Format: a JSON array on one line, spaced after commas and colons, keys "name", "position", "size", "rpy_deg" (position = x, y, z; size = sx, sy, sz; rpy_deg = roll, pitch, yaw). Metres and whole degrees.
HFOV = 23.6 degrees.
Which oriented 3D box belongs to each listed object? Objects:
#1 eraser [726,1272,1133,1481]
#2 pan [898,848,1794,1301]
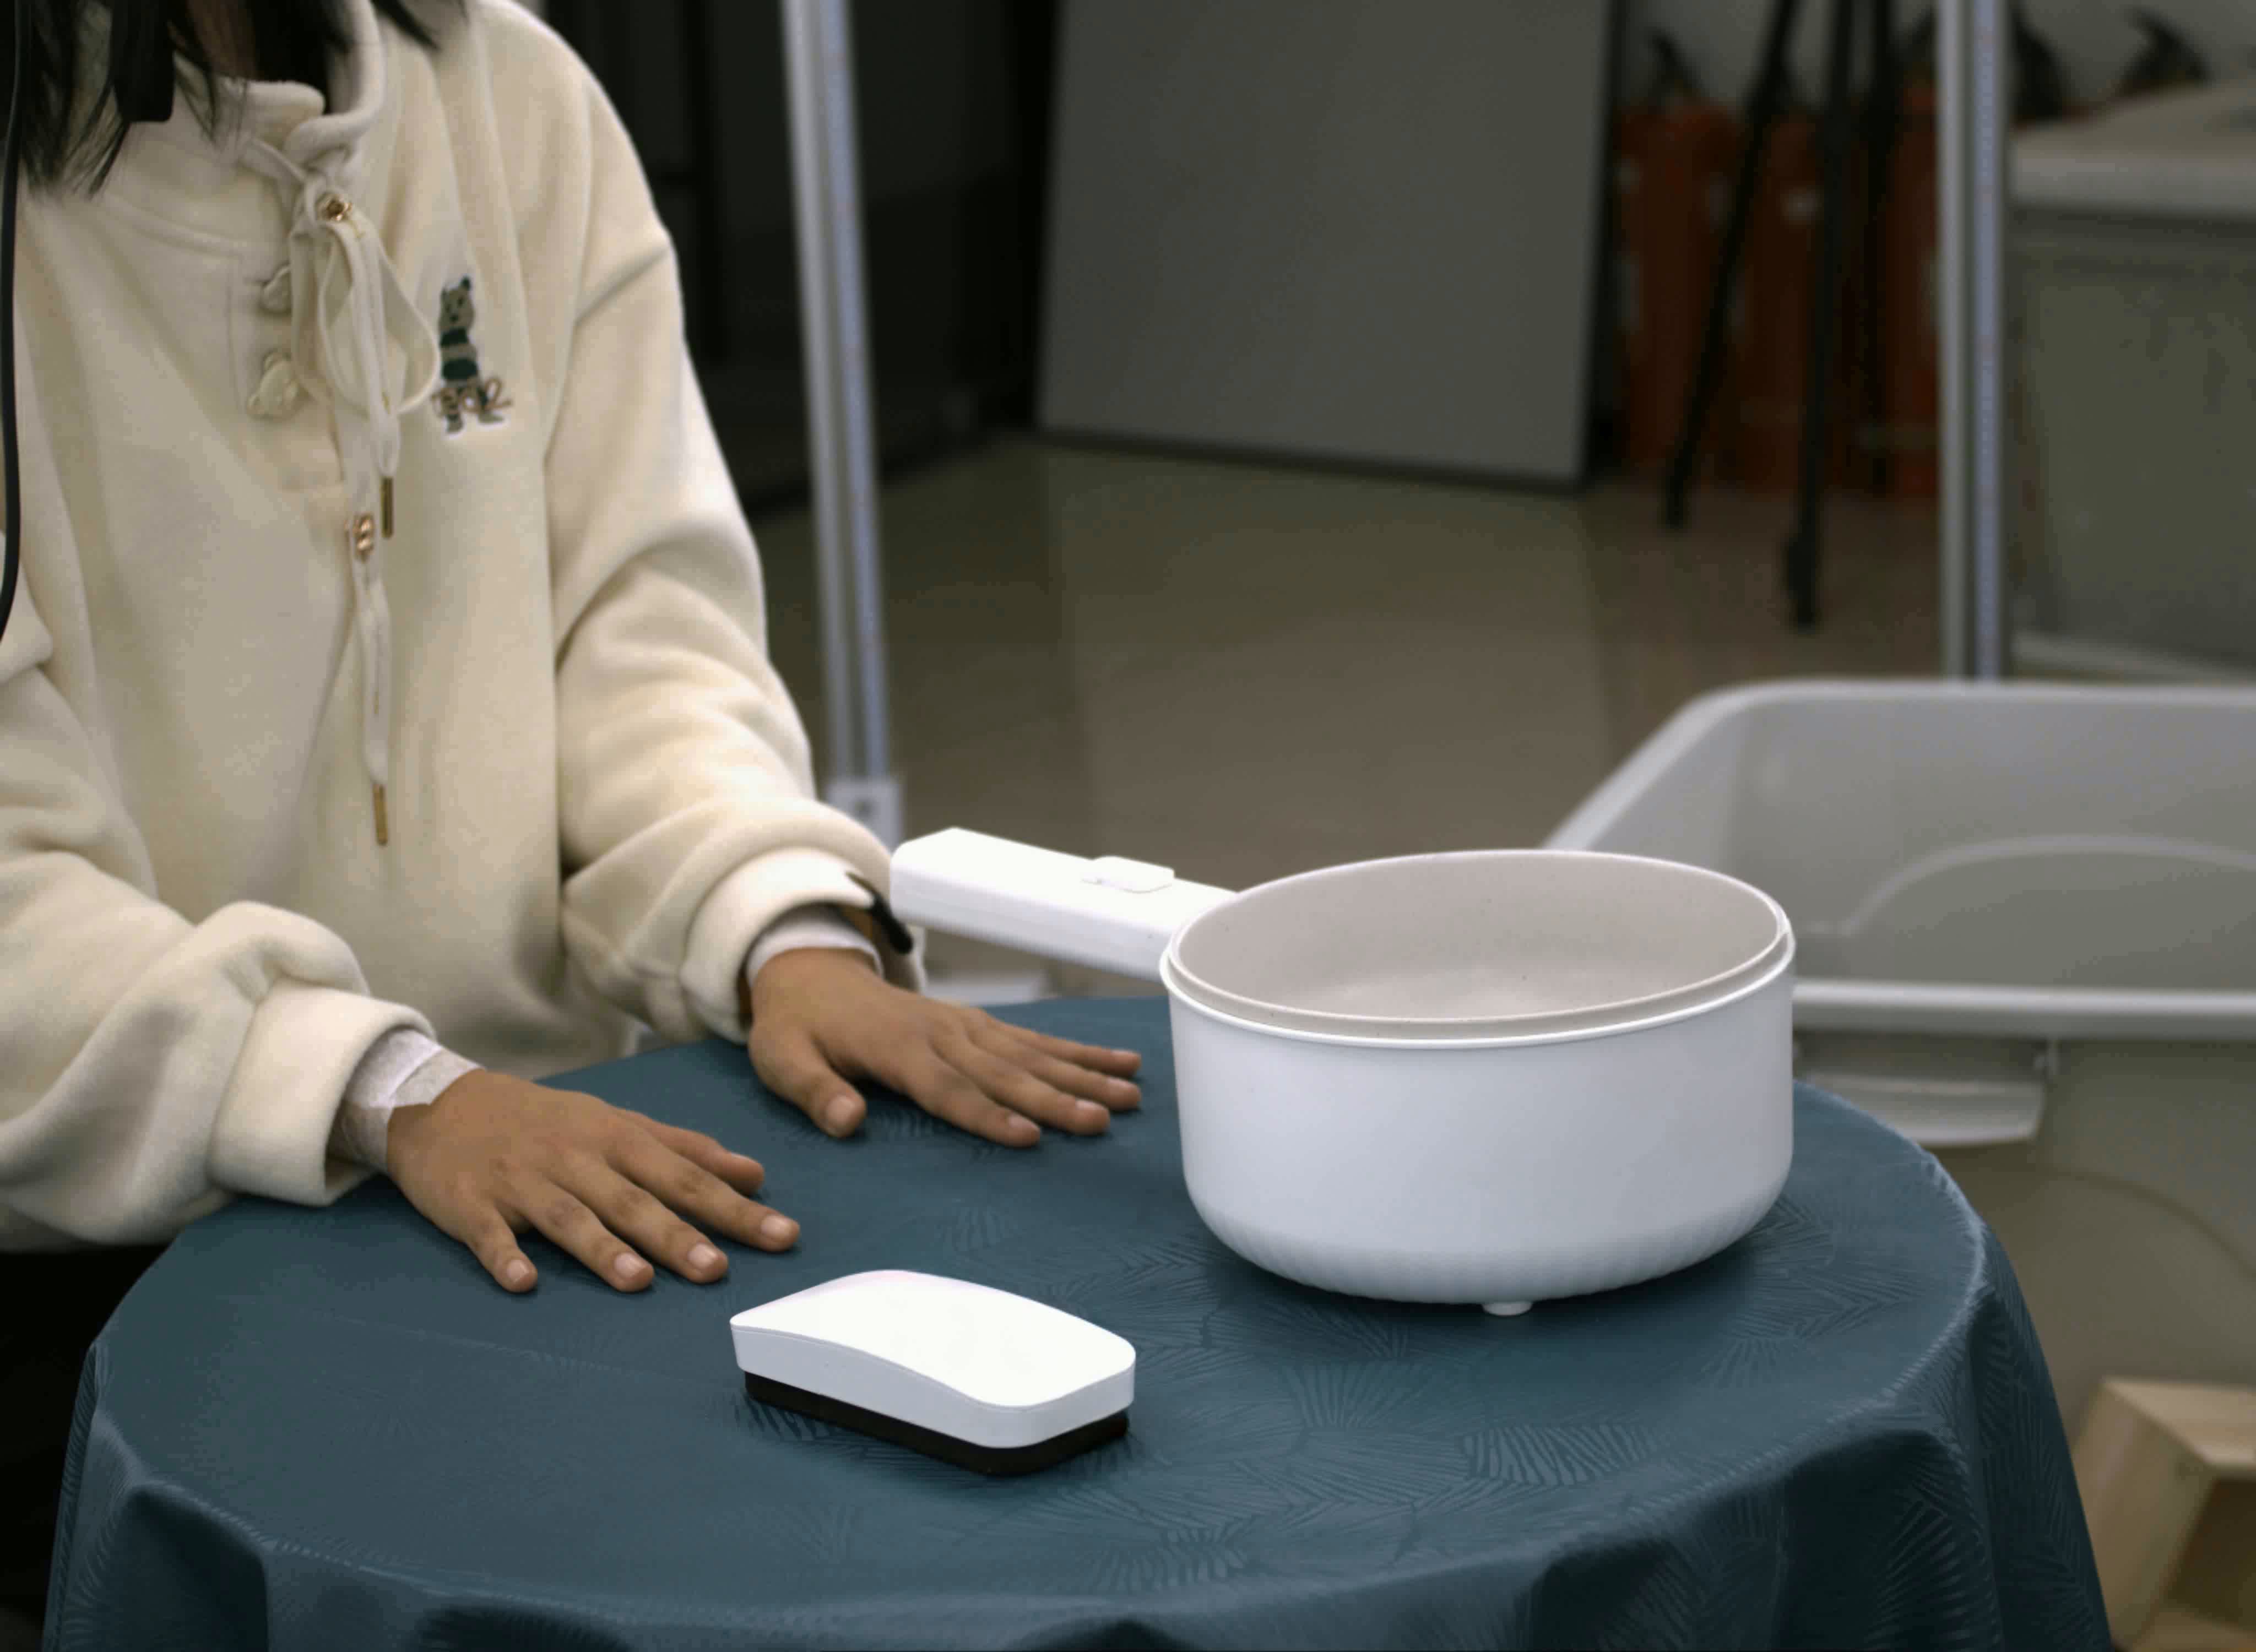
[{"name": "eraser", "position": [-0.057, 0.157, 1.576], "size": [0.062, 0.035, 0.132], "rpy_deg": [-13, 16, -41]}, {"name": "pan", "position": [0.058, 0.072, 1.744], "size": [0.197, 0.103, 0.358], "rpy_deg": [-15, 15, -42]}]
